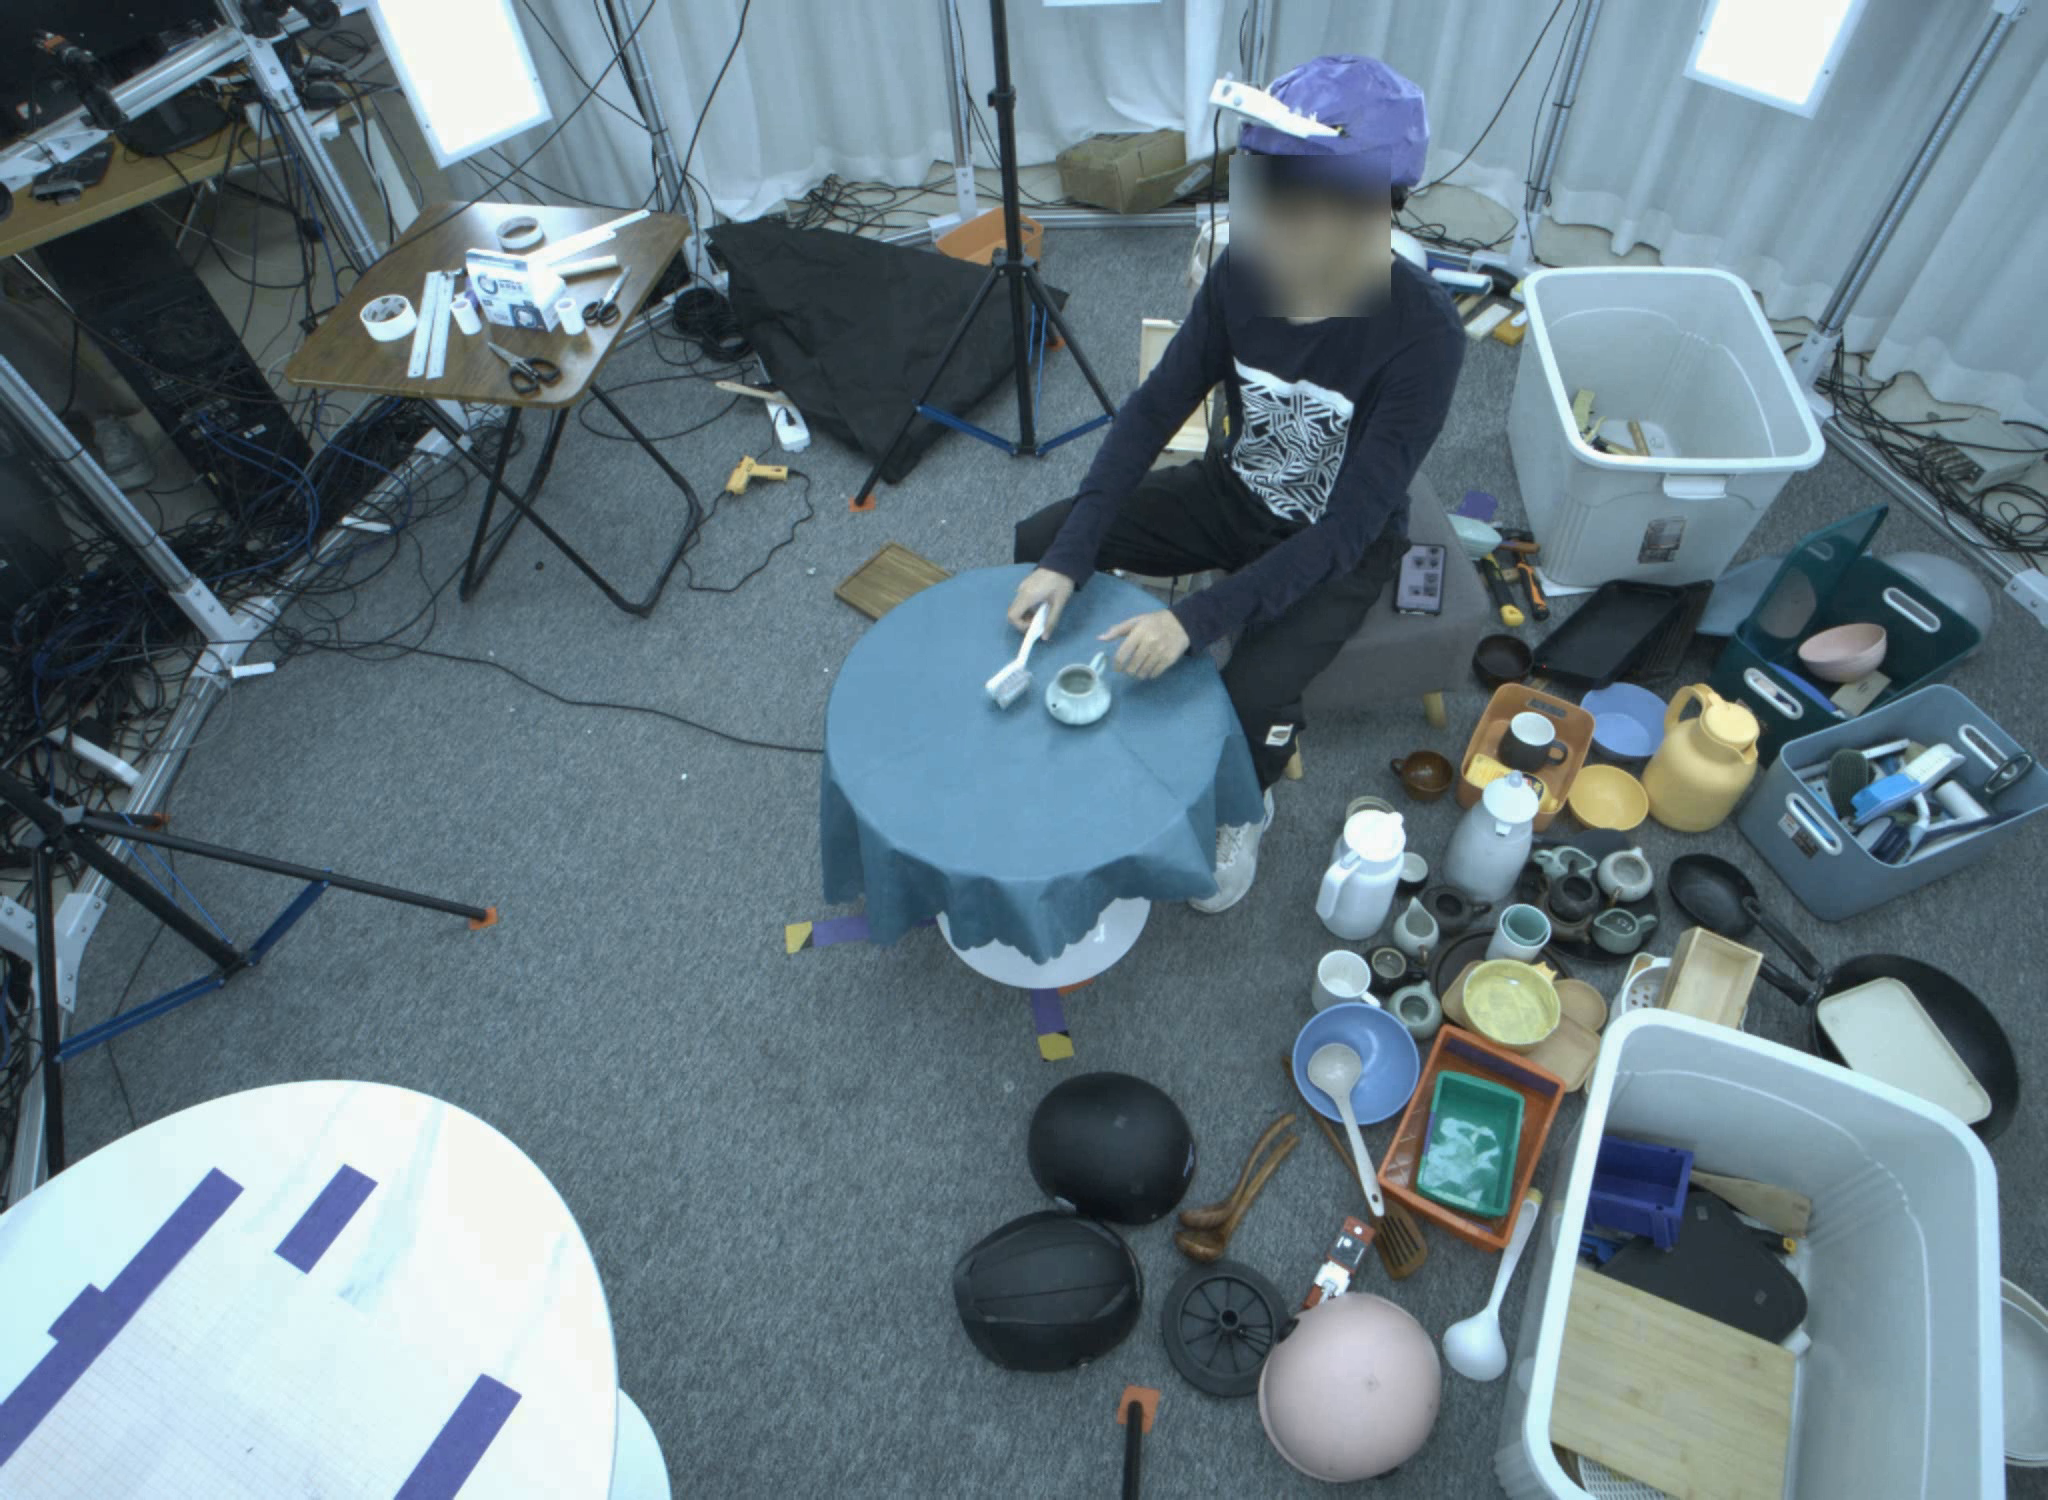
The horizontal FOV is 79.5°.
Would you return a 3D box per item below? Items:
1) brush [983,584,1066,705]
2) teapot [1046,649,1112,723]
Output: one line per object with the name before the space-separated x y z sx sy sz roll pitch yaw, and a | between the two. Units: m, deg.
brush | 0.016 -0.164 1.860 0.049 0.035 0.244 19 58 28
teapot | 0.082 -0.090 1.804 0.094 0.062 0.137 26 60 23
